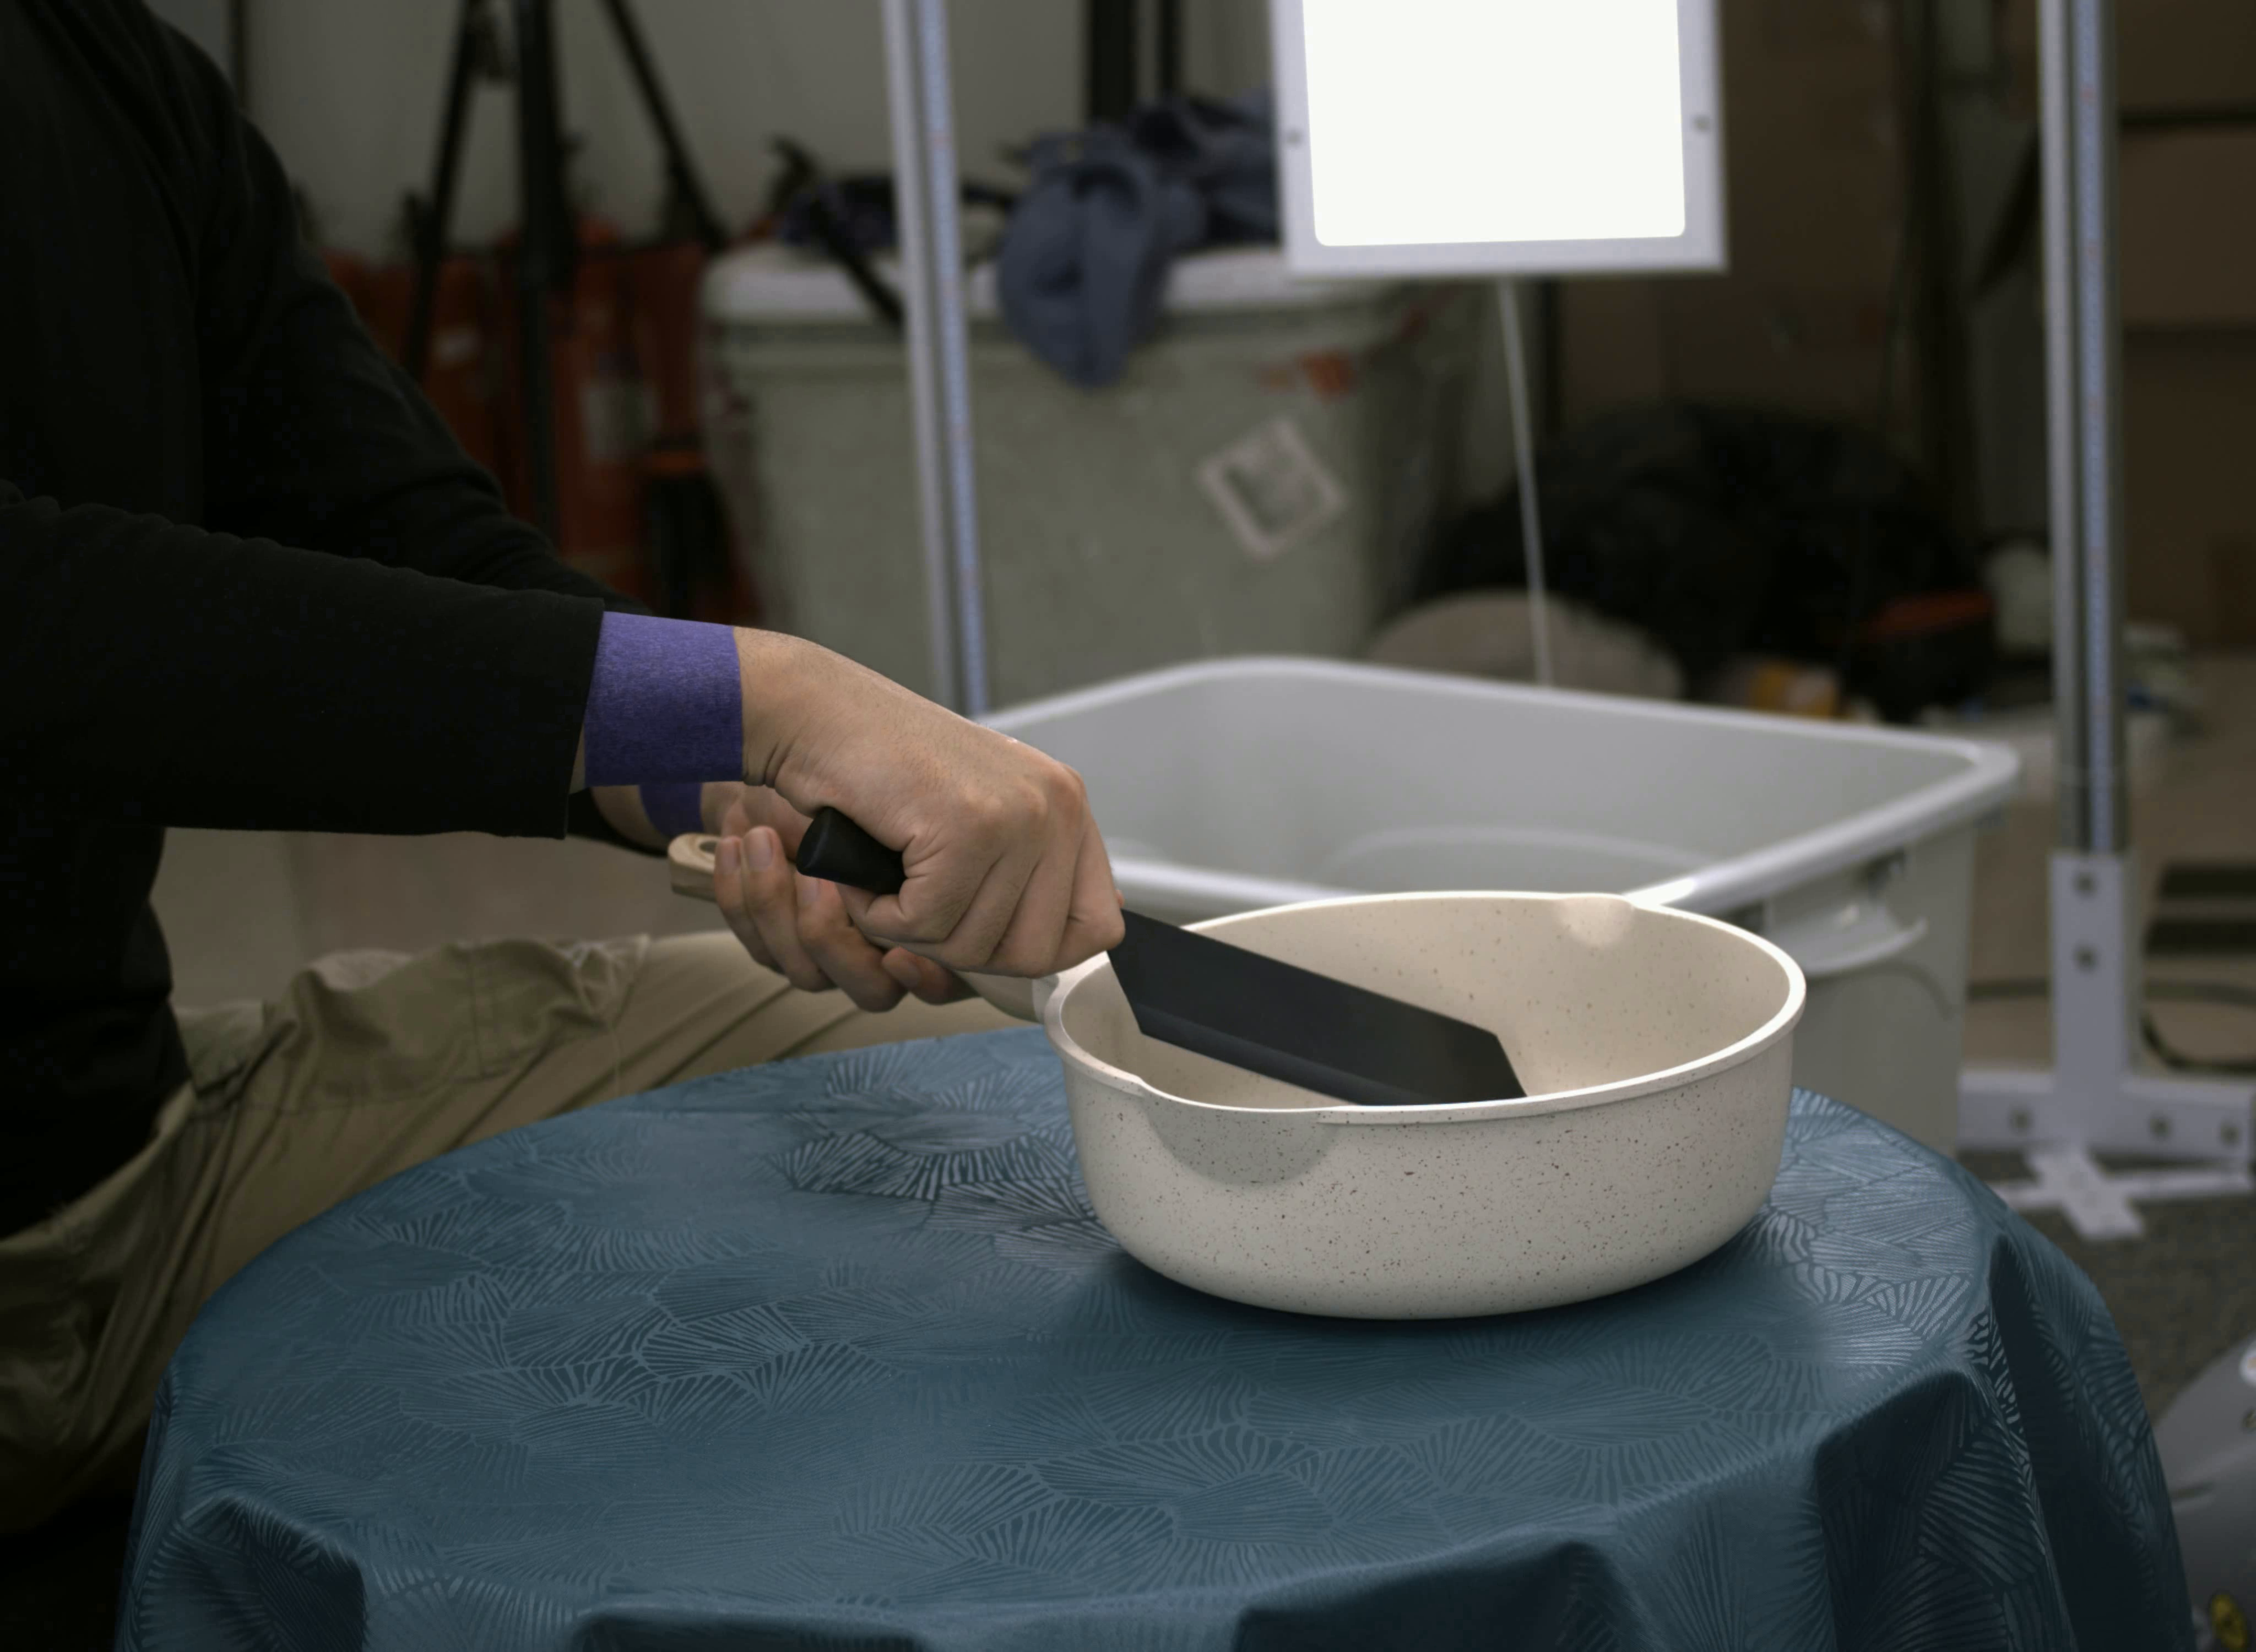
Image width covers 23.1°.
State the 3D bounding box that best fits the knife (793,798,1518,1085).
[{"bbox_3d":[0.018,0.050,1.811,0.296,0.021,0.081,22,31,-28],"label":"knife"}]

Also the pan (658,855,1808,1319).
[{"bbox_3d":[0.024,0.077,1.871,0.443,0.102,0.257,6,19,34],"label":"pan"}]
